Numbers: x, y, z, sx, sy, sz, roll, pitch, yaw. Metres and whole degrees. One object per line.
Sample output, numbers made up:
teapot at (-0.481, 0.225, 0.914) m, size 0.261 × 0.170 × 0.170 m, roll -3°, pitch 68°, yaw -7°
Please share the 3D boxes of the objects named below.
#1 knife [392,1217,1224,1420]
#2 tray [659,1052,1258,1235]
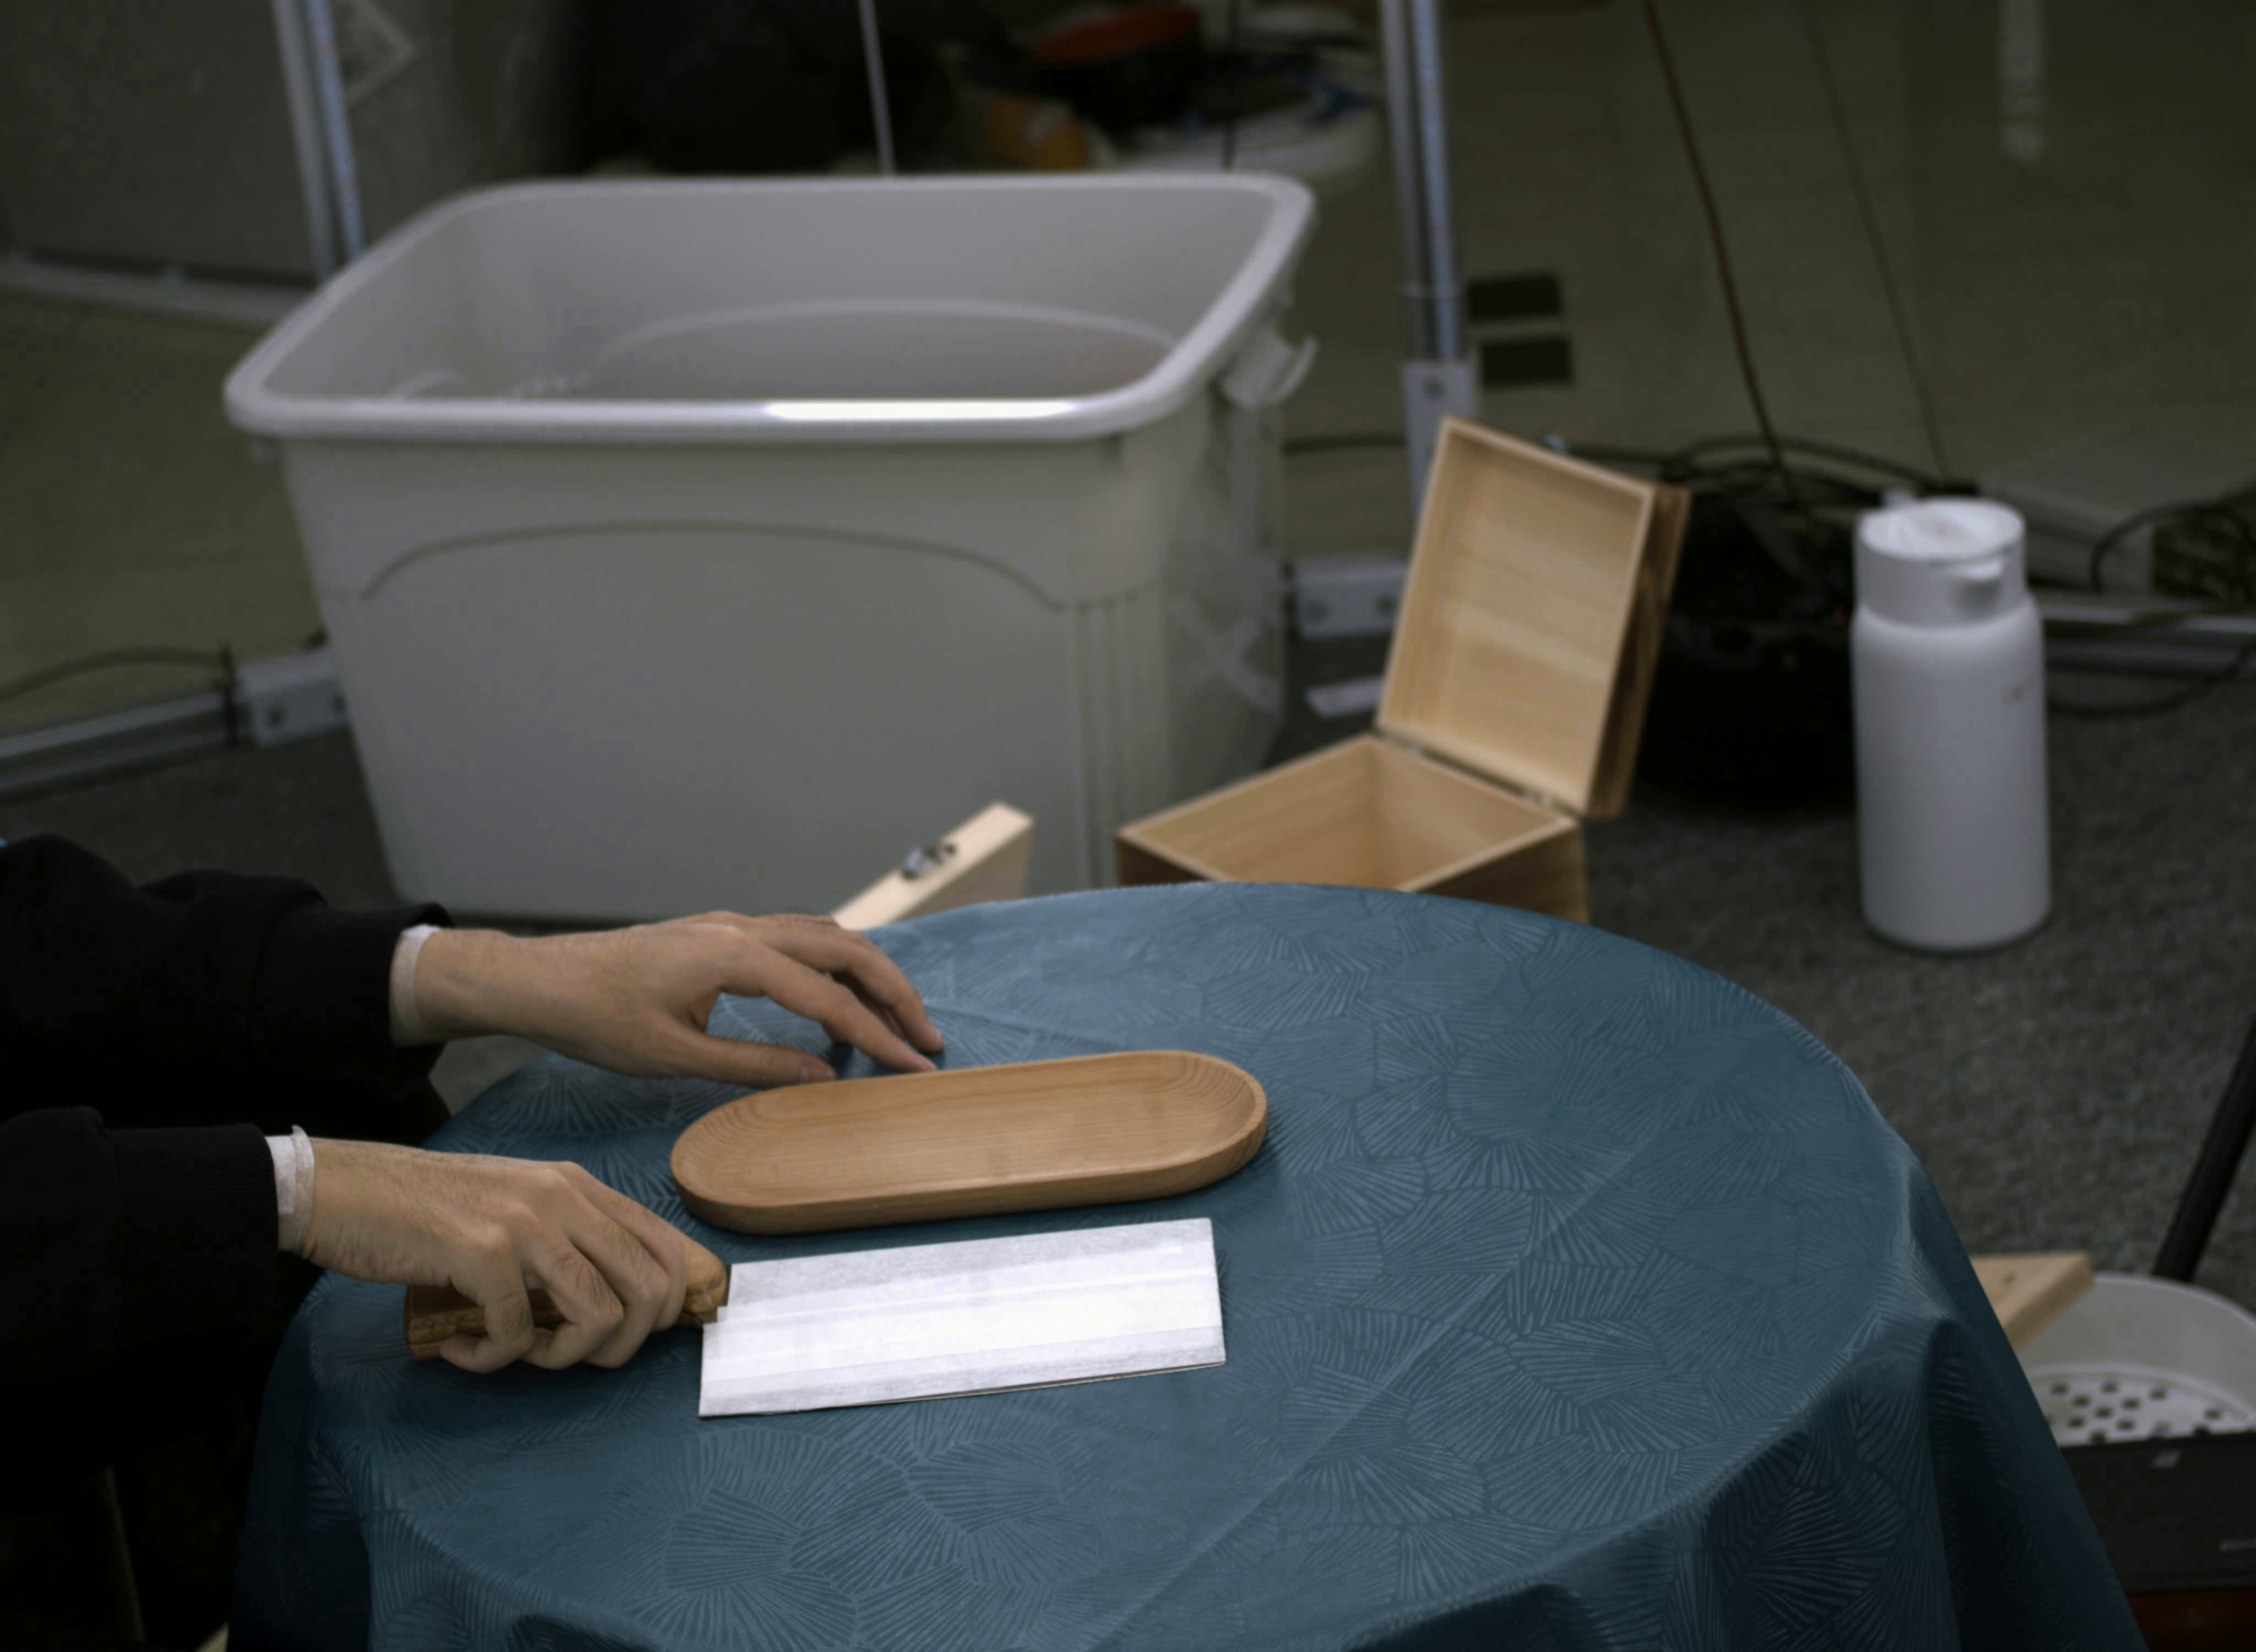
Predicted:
knife at (-0.118, 0.182, 2.063) m, size 0.305 × 0.021 × 0.091 m, roll -5°, pitch 33°, yaw 0°
tray at (-0.065, 0.123, 2.178) m, size 0.231 × 0.020 × 0.100 m, roll -6°, pitch 24°, yaw 2°
